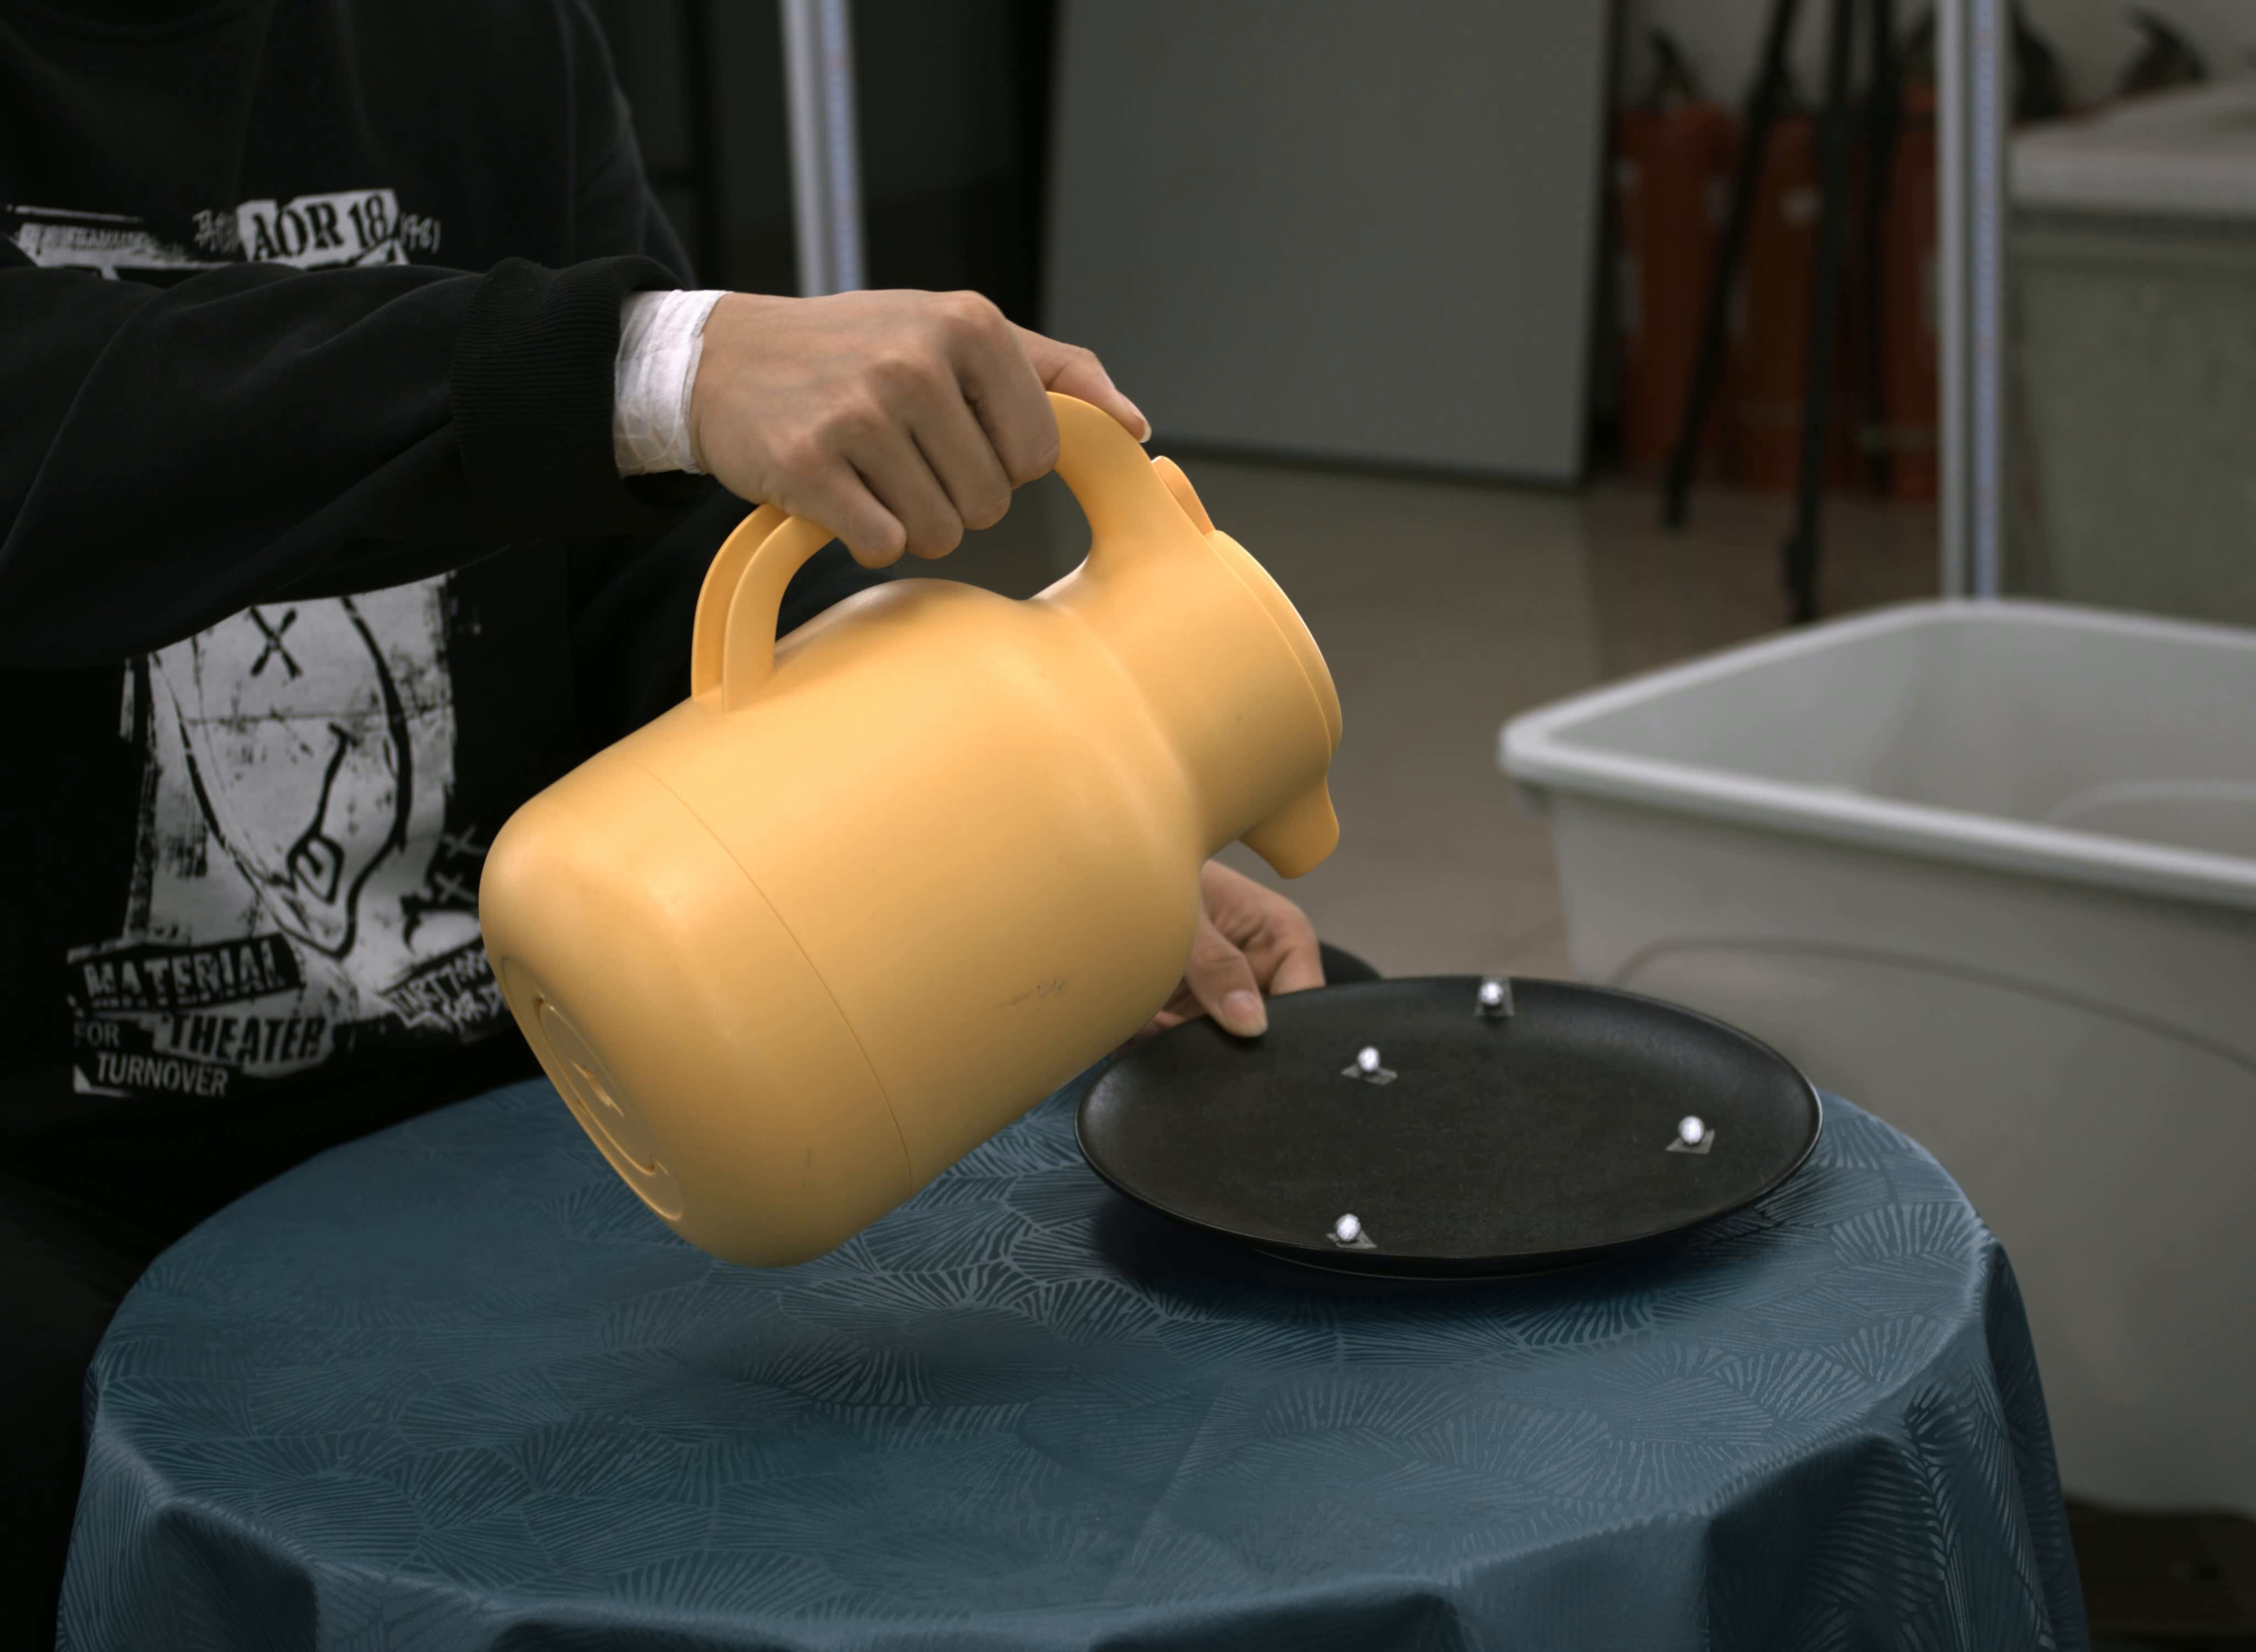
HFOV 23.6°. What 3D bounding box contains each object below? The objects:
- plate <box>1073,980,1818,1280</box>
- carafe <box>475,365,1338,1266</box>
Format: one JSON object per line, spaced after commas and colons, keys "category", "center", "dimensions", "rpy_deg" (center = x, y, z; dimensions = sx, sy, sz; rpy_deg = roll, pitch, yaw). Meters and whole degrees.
{"category": "plate", "center": [0.103, 0.101, 1.744], "dimensions": [0.241, 0.023, 0.245], "rpy_deg": [-3, 18, 0]}
{"category": "carafe", "center": [-0.068, -0.011, 1.620], "dimensions": [0.257, 0.203, 0.165], "rpy_deg": [-34, 19, -18]}
